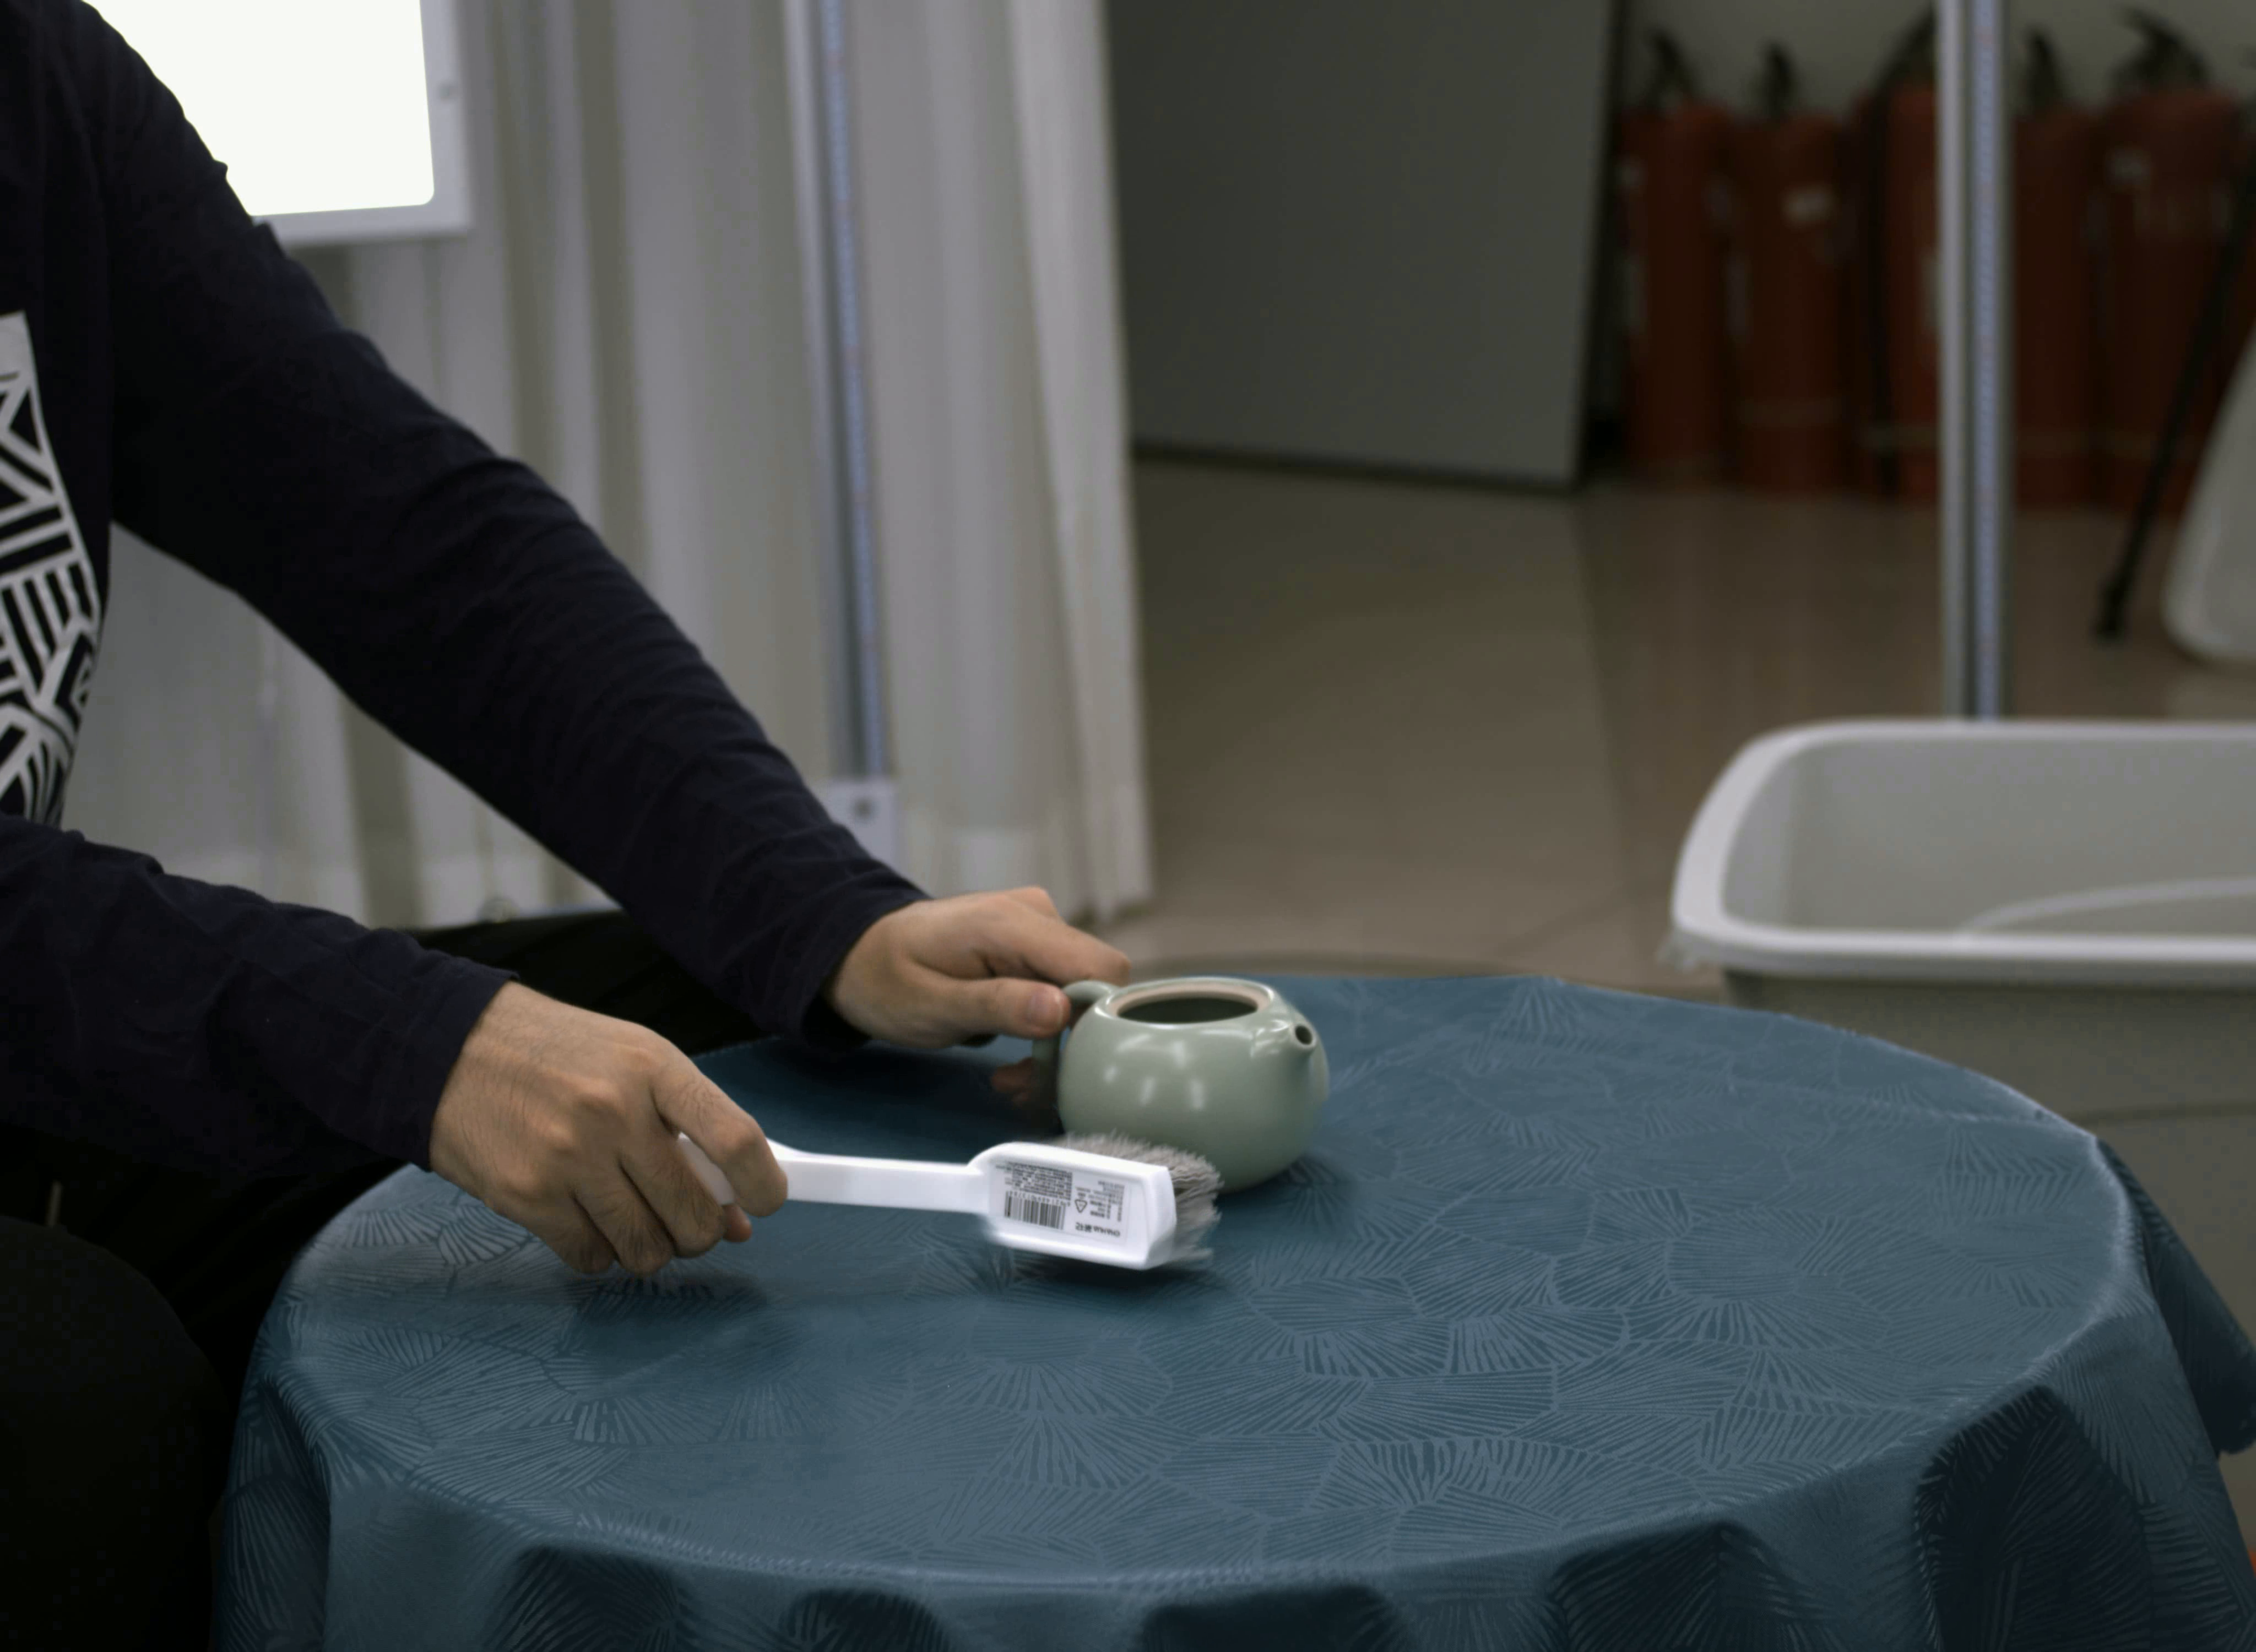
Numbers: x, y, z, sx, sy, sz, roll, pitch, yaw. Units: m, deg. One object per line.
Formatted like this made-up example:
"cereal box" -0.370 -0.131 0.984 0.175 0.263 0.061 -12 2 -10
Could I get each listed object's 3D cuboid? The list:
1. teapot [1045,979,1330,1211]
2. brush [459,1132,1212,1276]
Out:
"teapot" 0.016 0.088 1.788 0.089 0.061 0.130 -20 20 -36
"brush" -0.091 0.113 1.708 0.242 0.035 0.050 2 14 16
